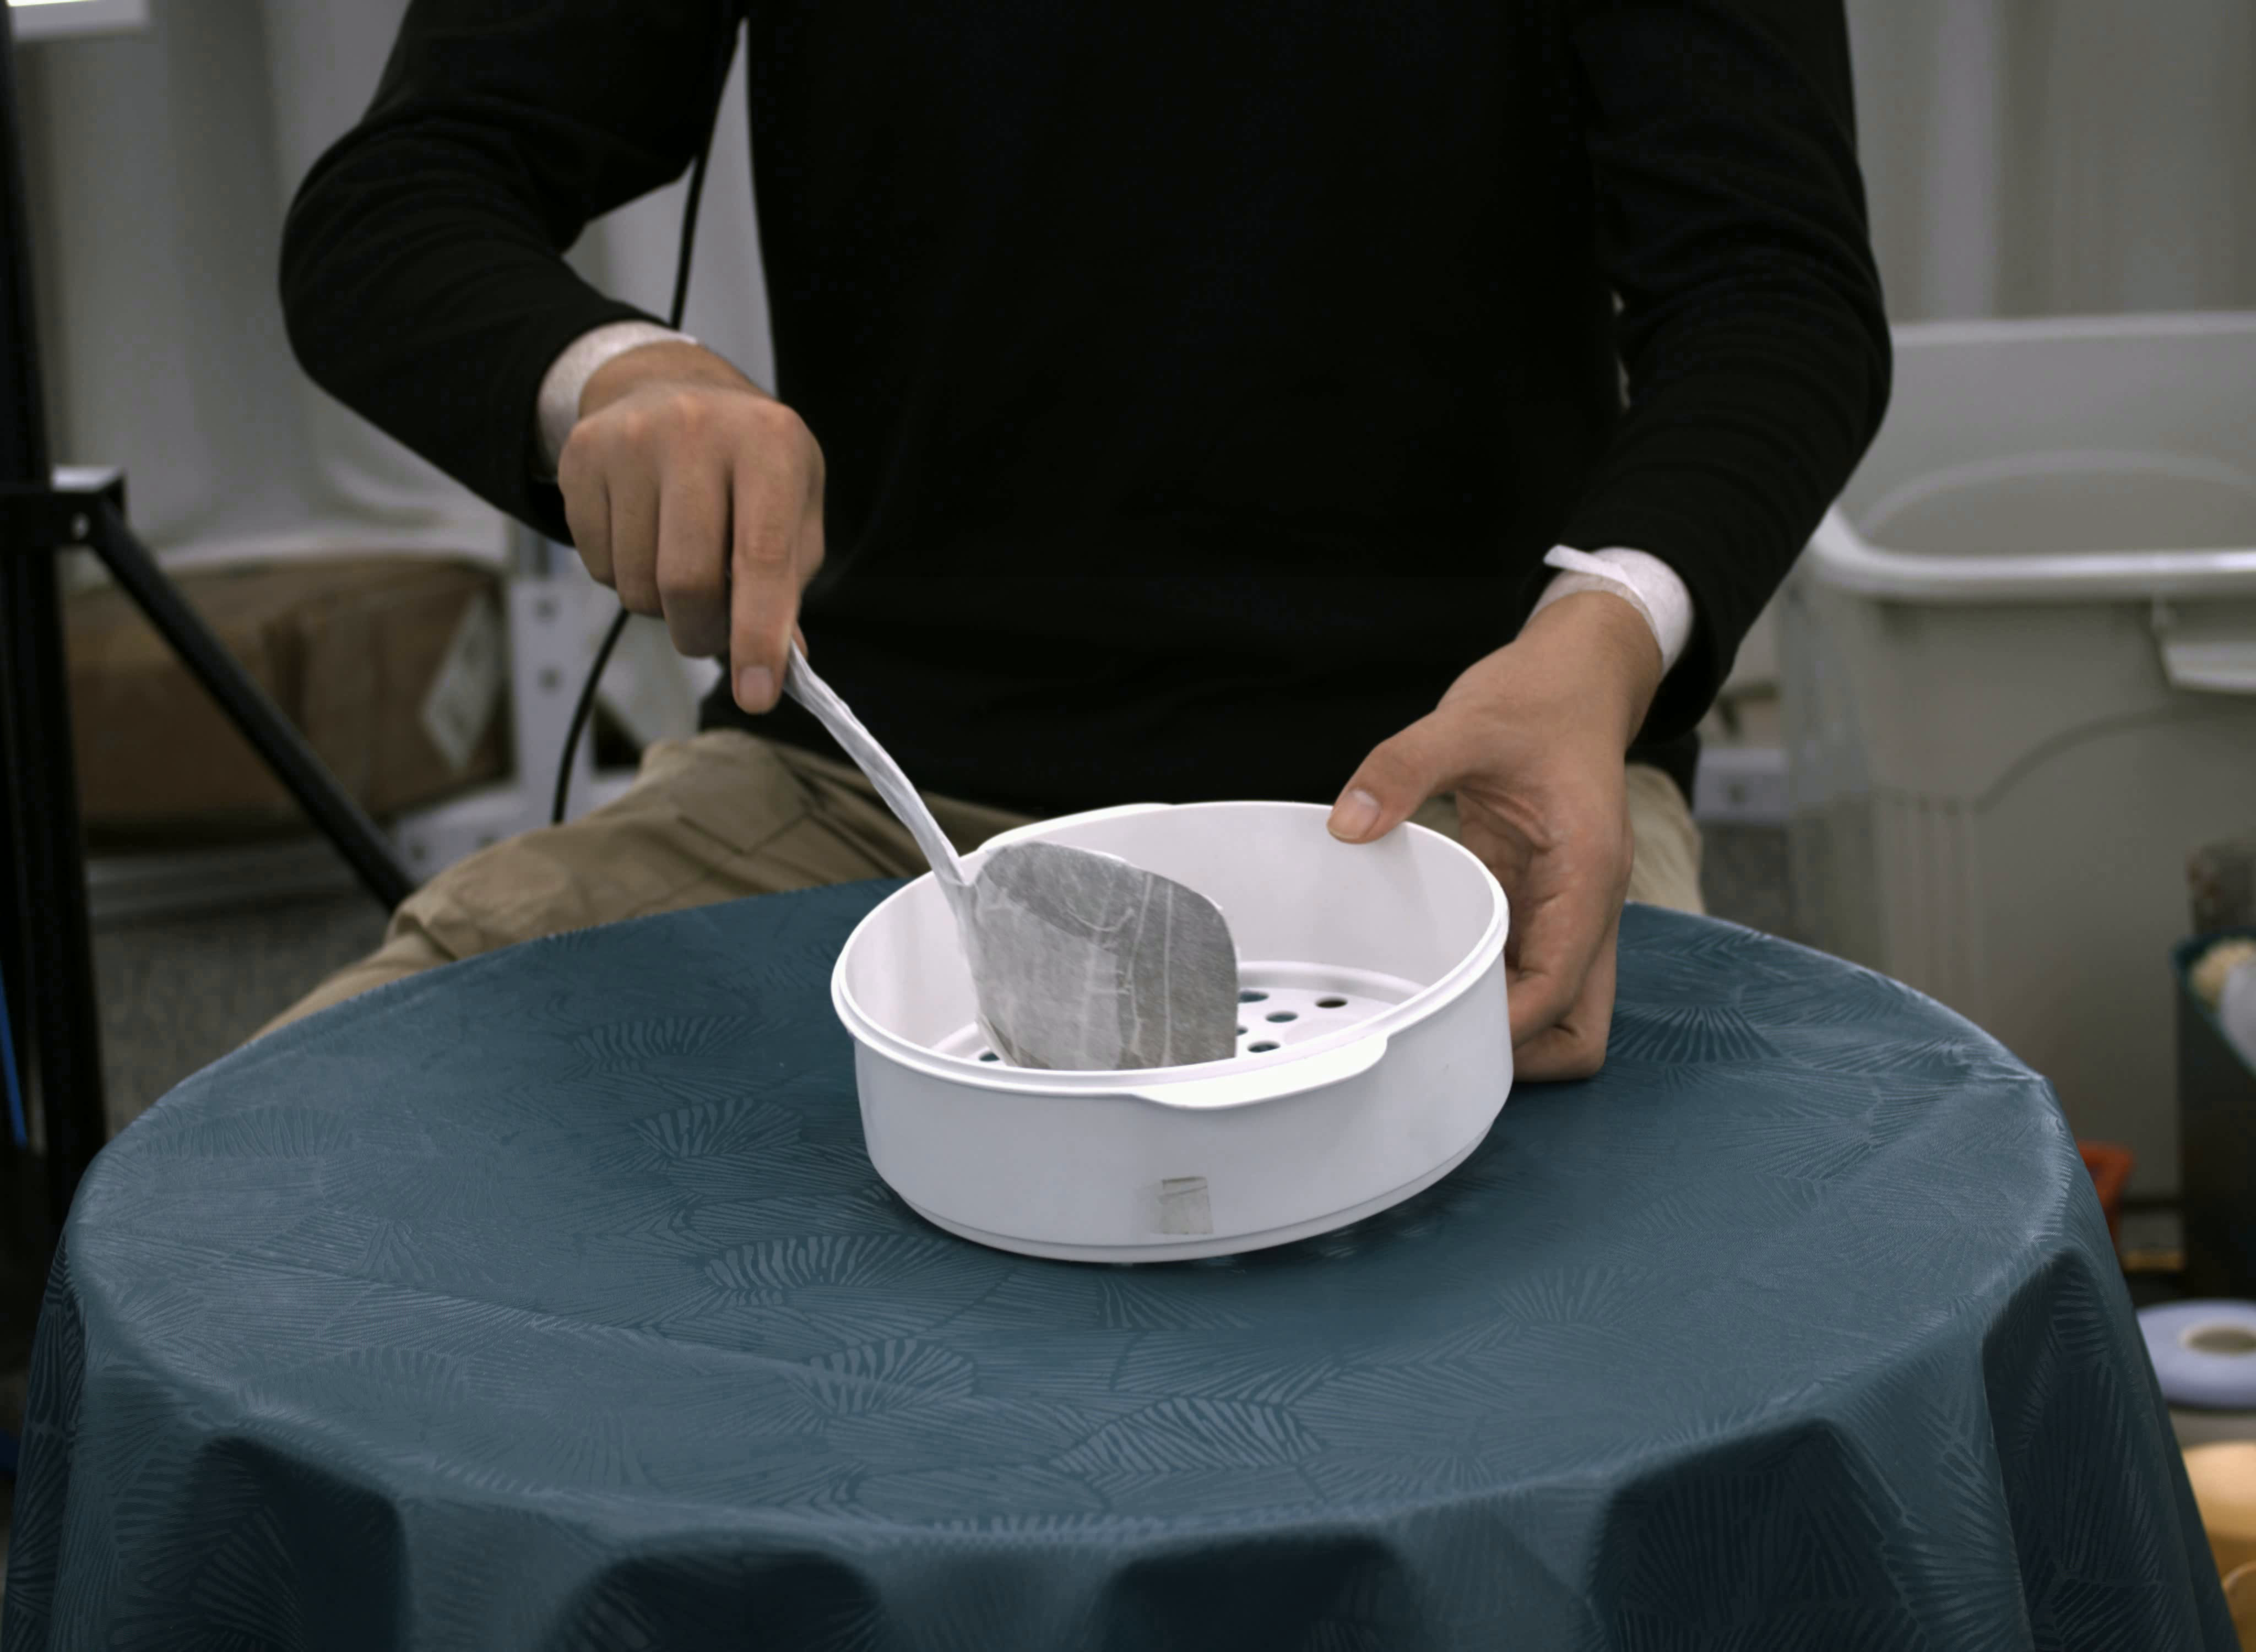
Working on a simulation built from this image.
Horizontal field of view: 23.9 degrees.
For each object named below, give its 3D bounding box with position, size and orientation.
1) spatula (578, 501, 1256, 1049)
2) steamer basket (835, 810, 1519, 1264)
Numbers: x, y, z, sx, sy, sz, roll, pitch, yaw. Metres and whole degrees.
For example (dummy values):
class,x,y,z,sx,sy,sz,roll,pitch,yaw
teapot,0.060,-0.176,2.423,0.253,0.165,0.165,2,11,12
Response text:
class,x,y,z,sx,sy,sz,roll,pitch,yaw
spatula,-0.072,-0.018,1.622,0.044,0.098,0.373,-14,37,-25
steamer basket,0.017,0.062,1.561,0.199,0.069,0.234,-11,21,-11
